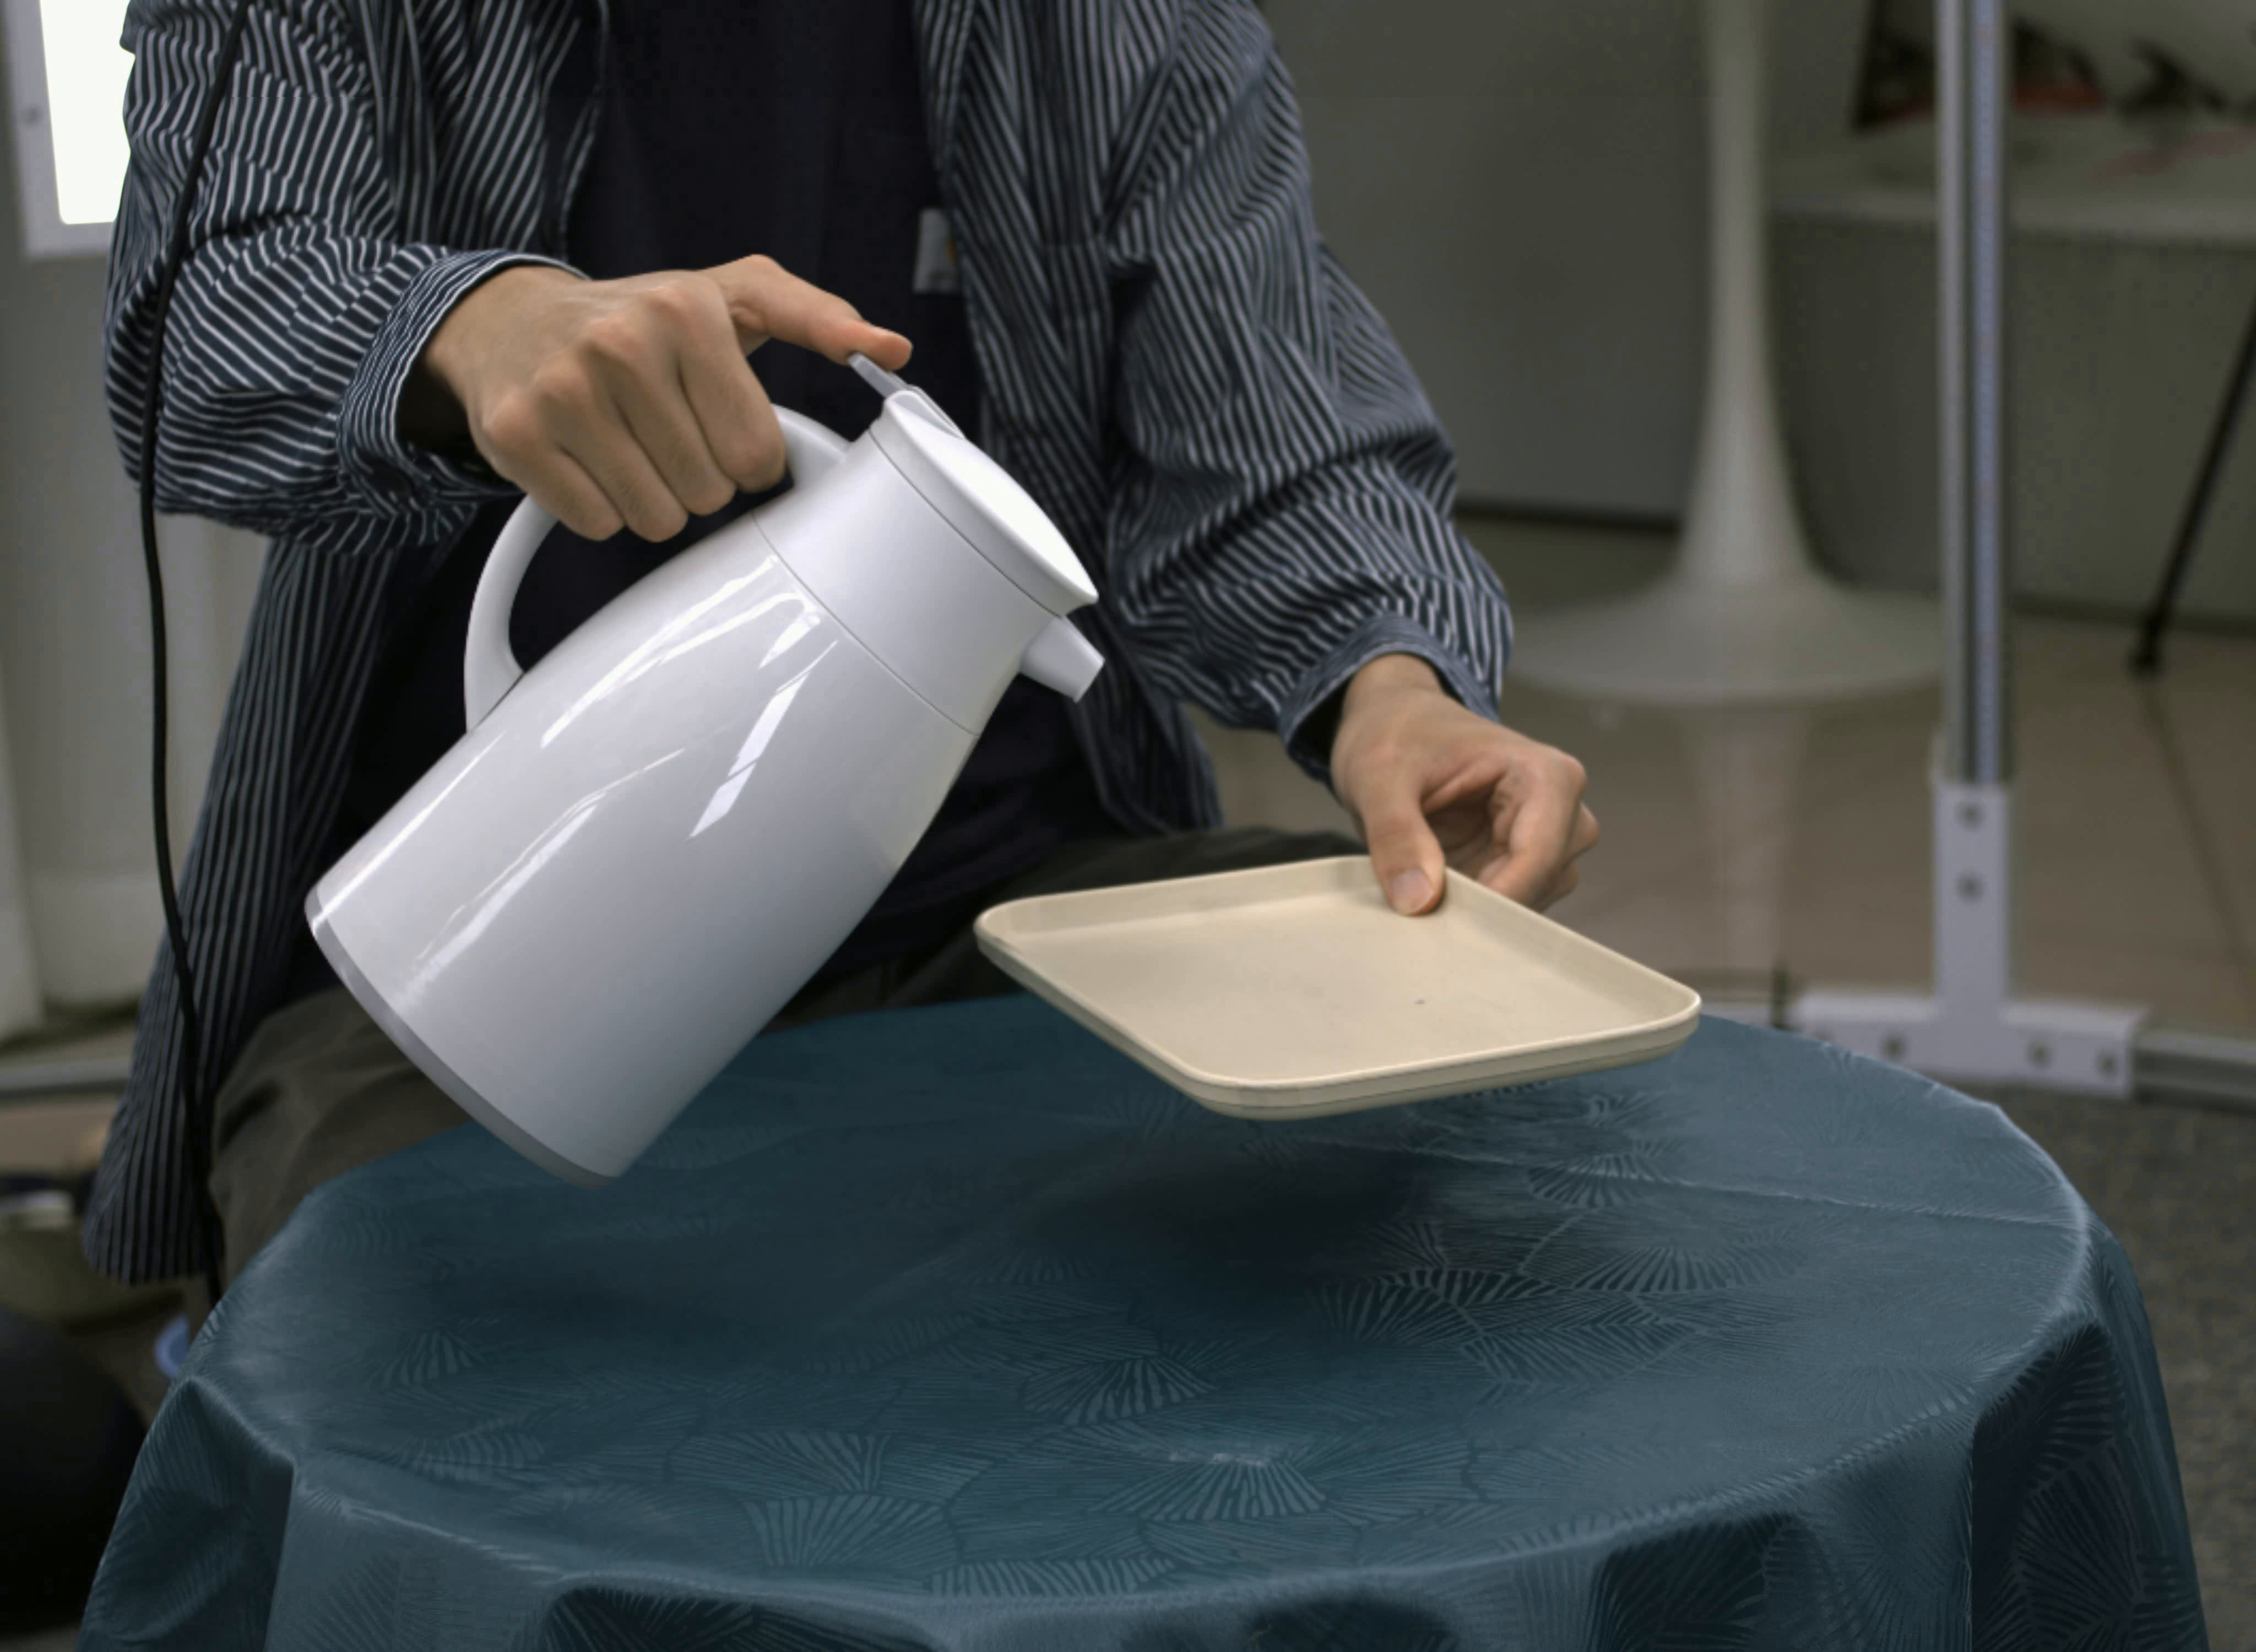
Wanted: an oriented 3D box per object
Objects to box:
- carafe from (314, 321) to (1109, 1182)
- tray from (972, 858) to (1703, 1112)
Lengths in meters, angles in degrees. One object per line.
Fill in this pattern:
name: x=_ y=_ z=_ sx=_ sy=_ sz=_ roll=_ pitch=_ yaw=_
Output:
carafe: x=-0.133 y=-0.037 z=1.660 sx=0.249 sy=0.167 sz=0.132 roll=-46 pitch=7 yaw=7
tray: x=0.062 y=0.049 z=1.691 sx=0.167 sy=0.018 sz=0.242 roll=-7 pitch=14 yaw=-20
